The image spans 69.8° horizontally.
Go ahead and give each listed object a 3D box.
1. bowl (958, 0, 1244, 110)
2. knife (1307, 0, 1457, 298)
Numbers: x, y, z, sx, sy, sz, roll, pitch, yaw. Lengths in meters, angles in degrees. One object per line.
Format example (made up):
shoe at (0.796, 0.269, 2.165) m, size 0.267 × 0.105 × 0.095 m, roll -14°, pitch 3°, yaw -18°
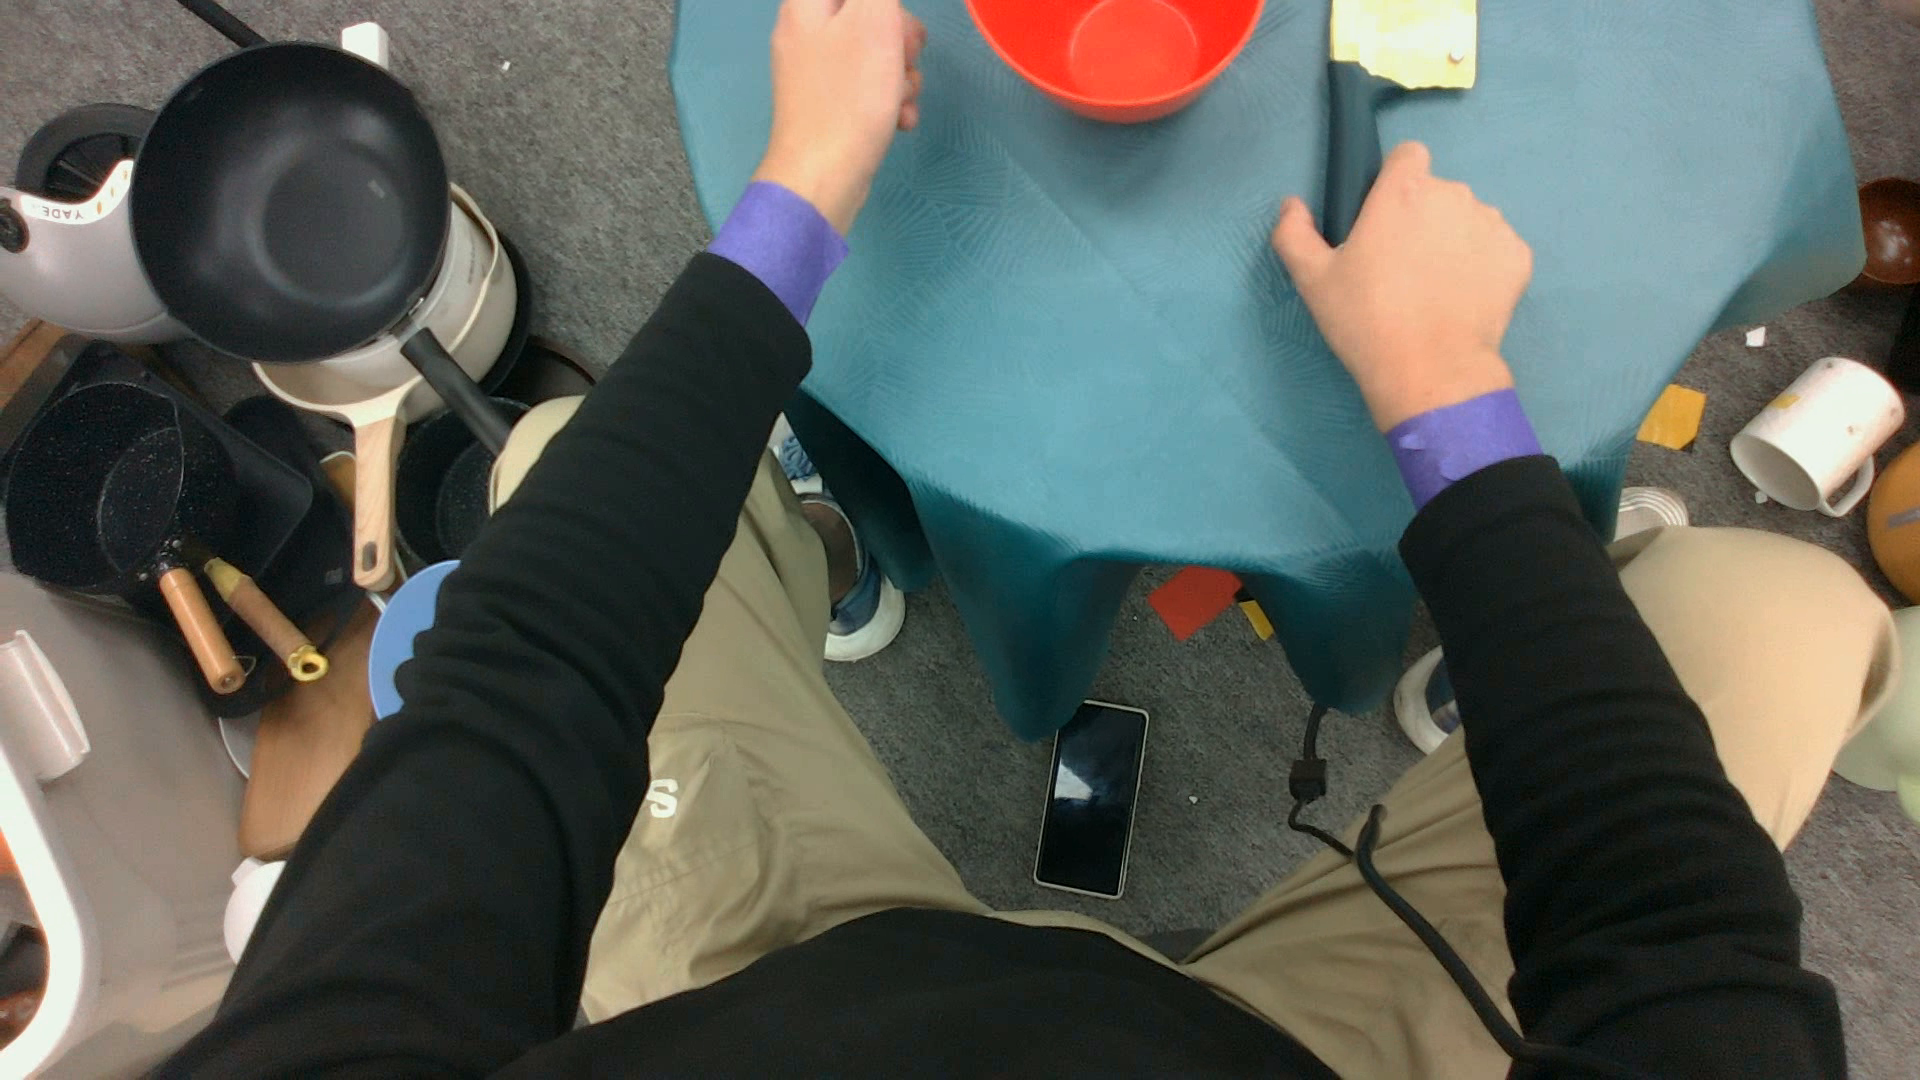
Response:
bowl at (0.070, -0.279, 0.695) m, size 0.148 × 0.104 × 0.148 m, roll -1°, pitch 81°, yaw 5°
knife at (0.219, -0.264, 0.721) m, size 0.081 × 0.027 × 0.290 m, roll 5°, pitch 80°, yaw 10°
